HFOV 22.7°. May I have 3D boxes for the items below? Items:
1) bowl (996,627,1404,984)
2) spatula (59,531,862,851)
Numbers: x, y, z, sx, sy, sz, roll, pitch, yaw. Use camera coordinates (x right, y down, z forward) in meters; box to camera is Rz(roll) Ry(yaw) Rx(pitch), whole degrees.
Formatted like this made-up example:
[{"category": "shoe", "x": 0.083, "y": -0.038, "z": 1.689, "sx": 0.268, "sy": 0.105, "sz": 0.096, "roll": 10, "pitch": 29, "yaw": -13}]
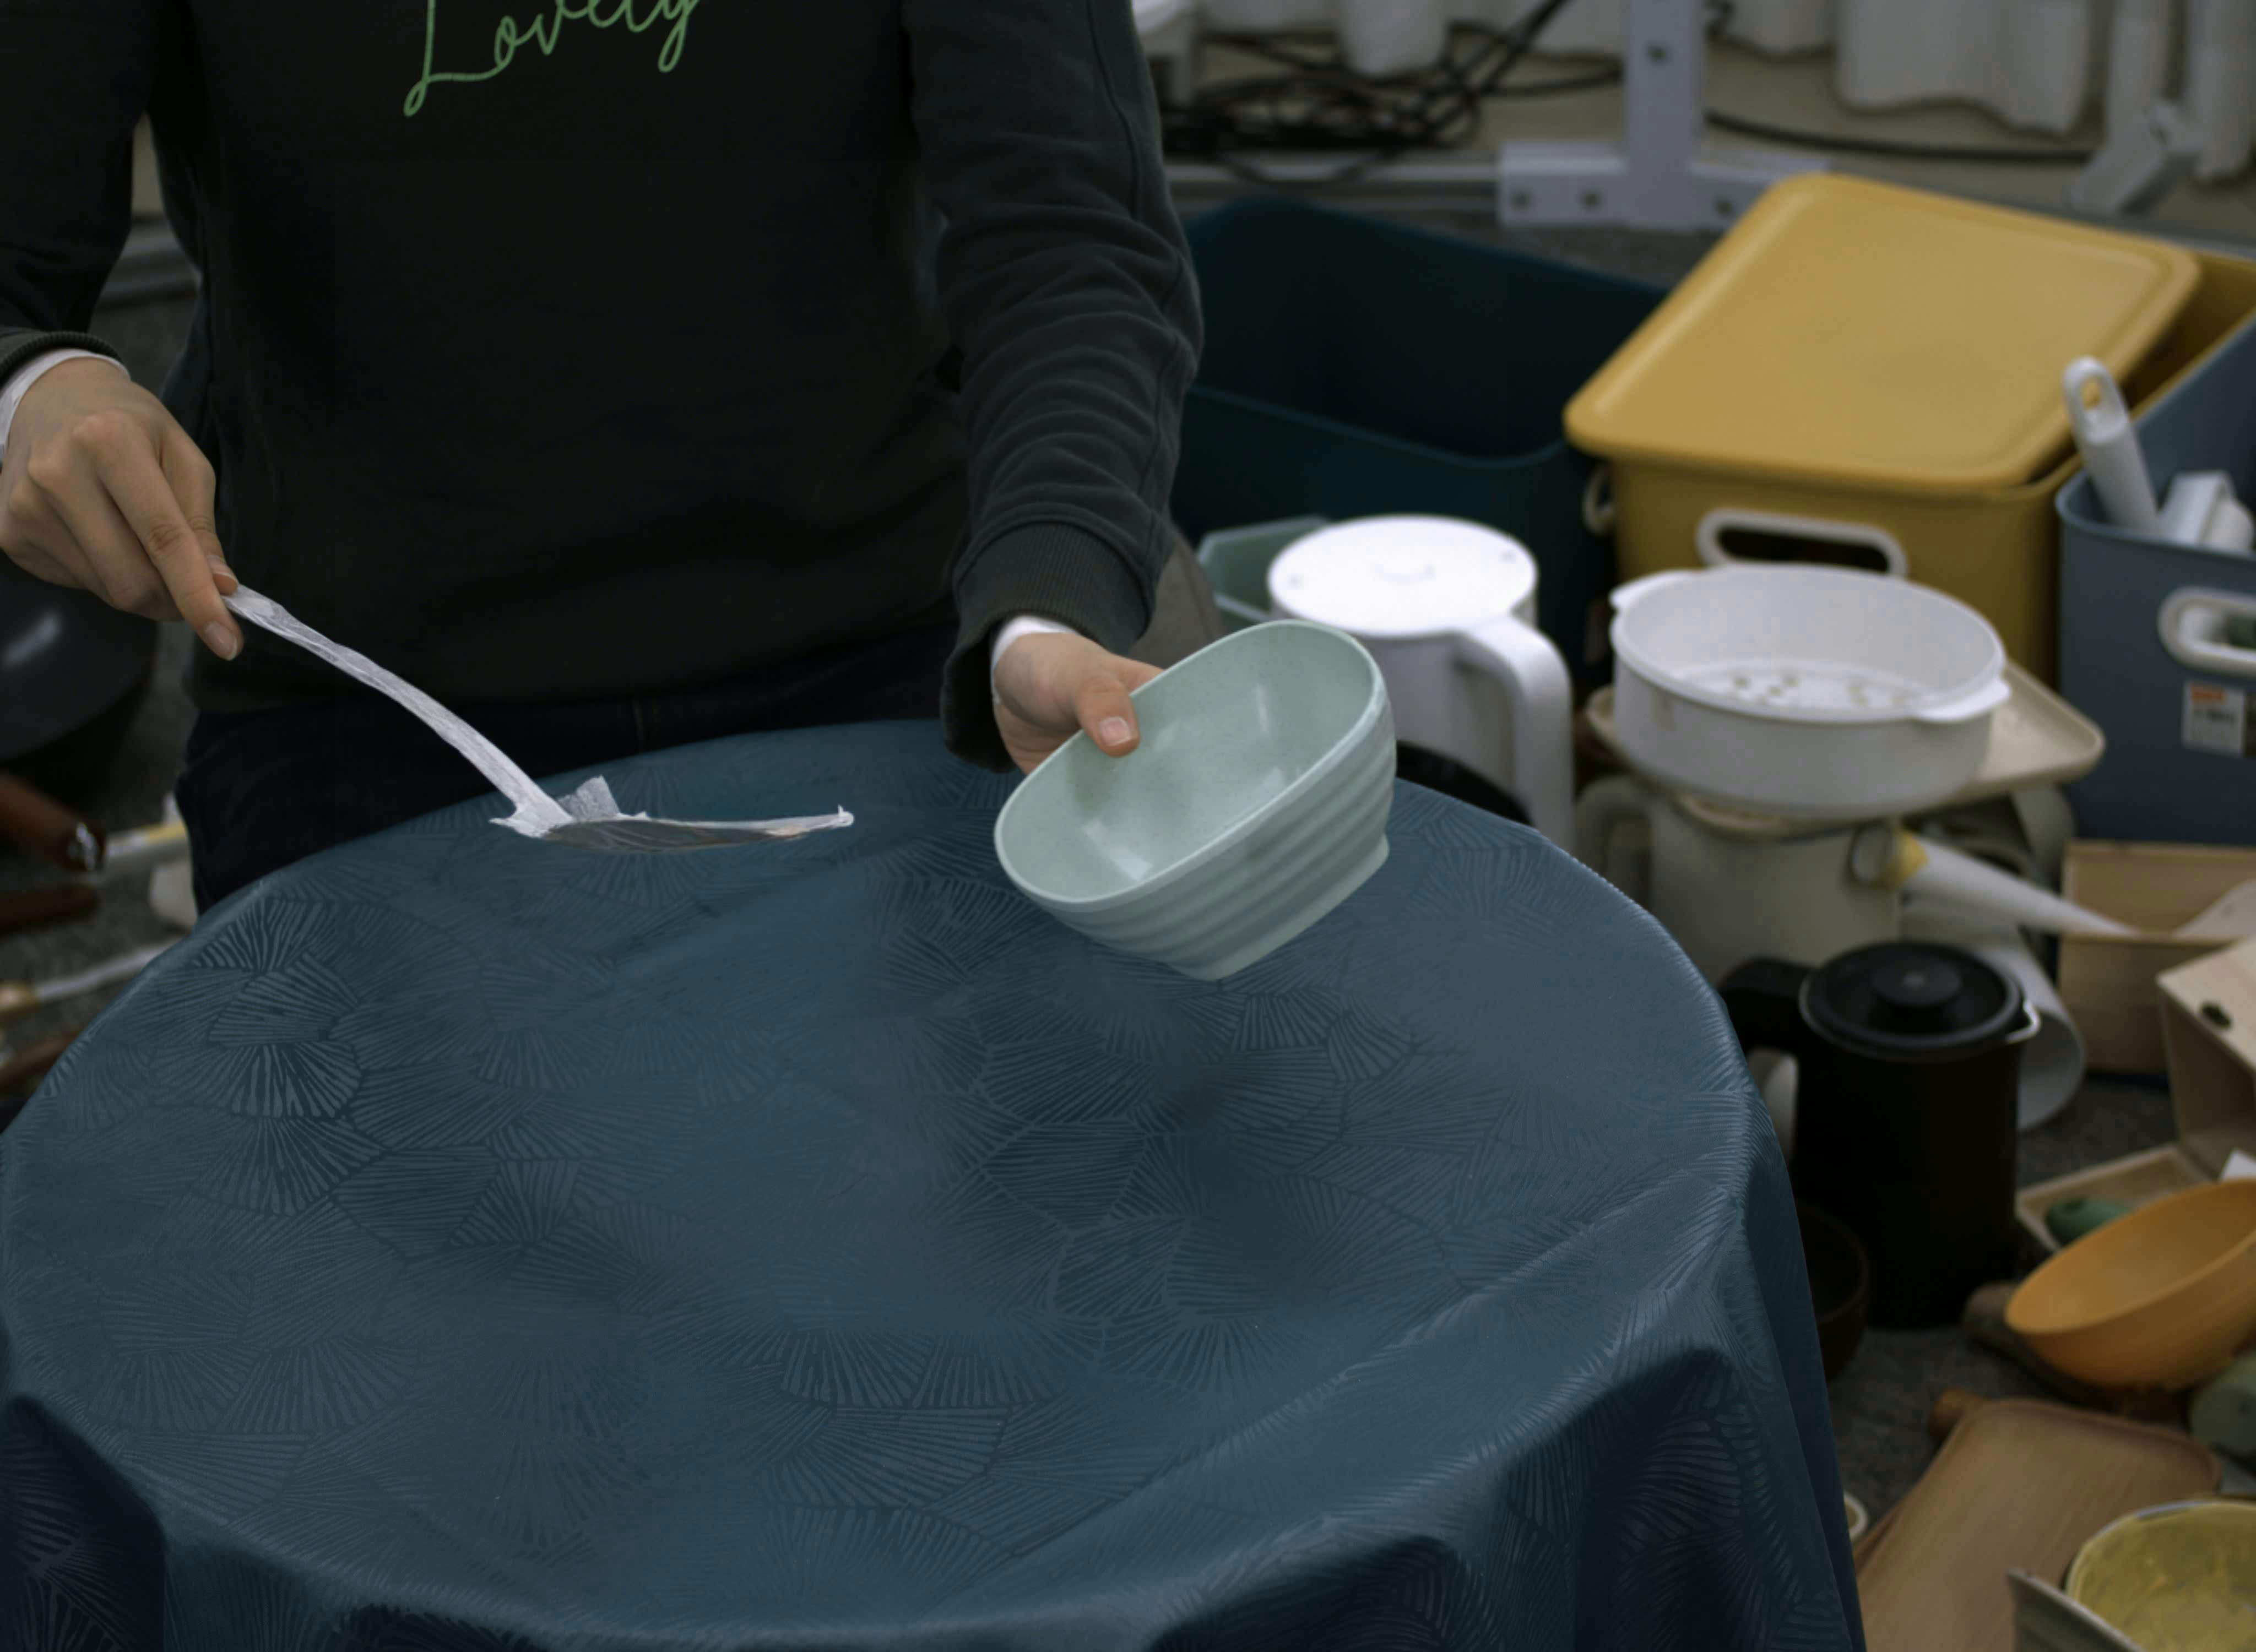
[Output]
[{"category": "bowl", "x": 0.033, "y": 0.000, "z": 1.856, "sx": 0.150, "sy": 0.058, "sz": 0.154, "roll": -24, "pitch": 25, "yaw": 12}, {"category": "spatula", "x": -0.237, "y": -0.050, "z": 1.824, "sx": 0.365, "sy": 0.044, "sz": 0.099, "roll": 28, "pitch": 19, "yaw": 37}]
